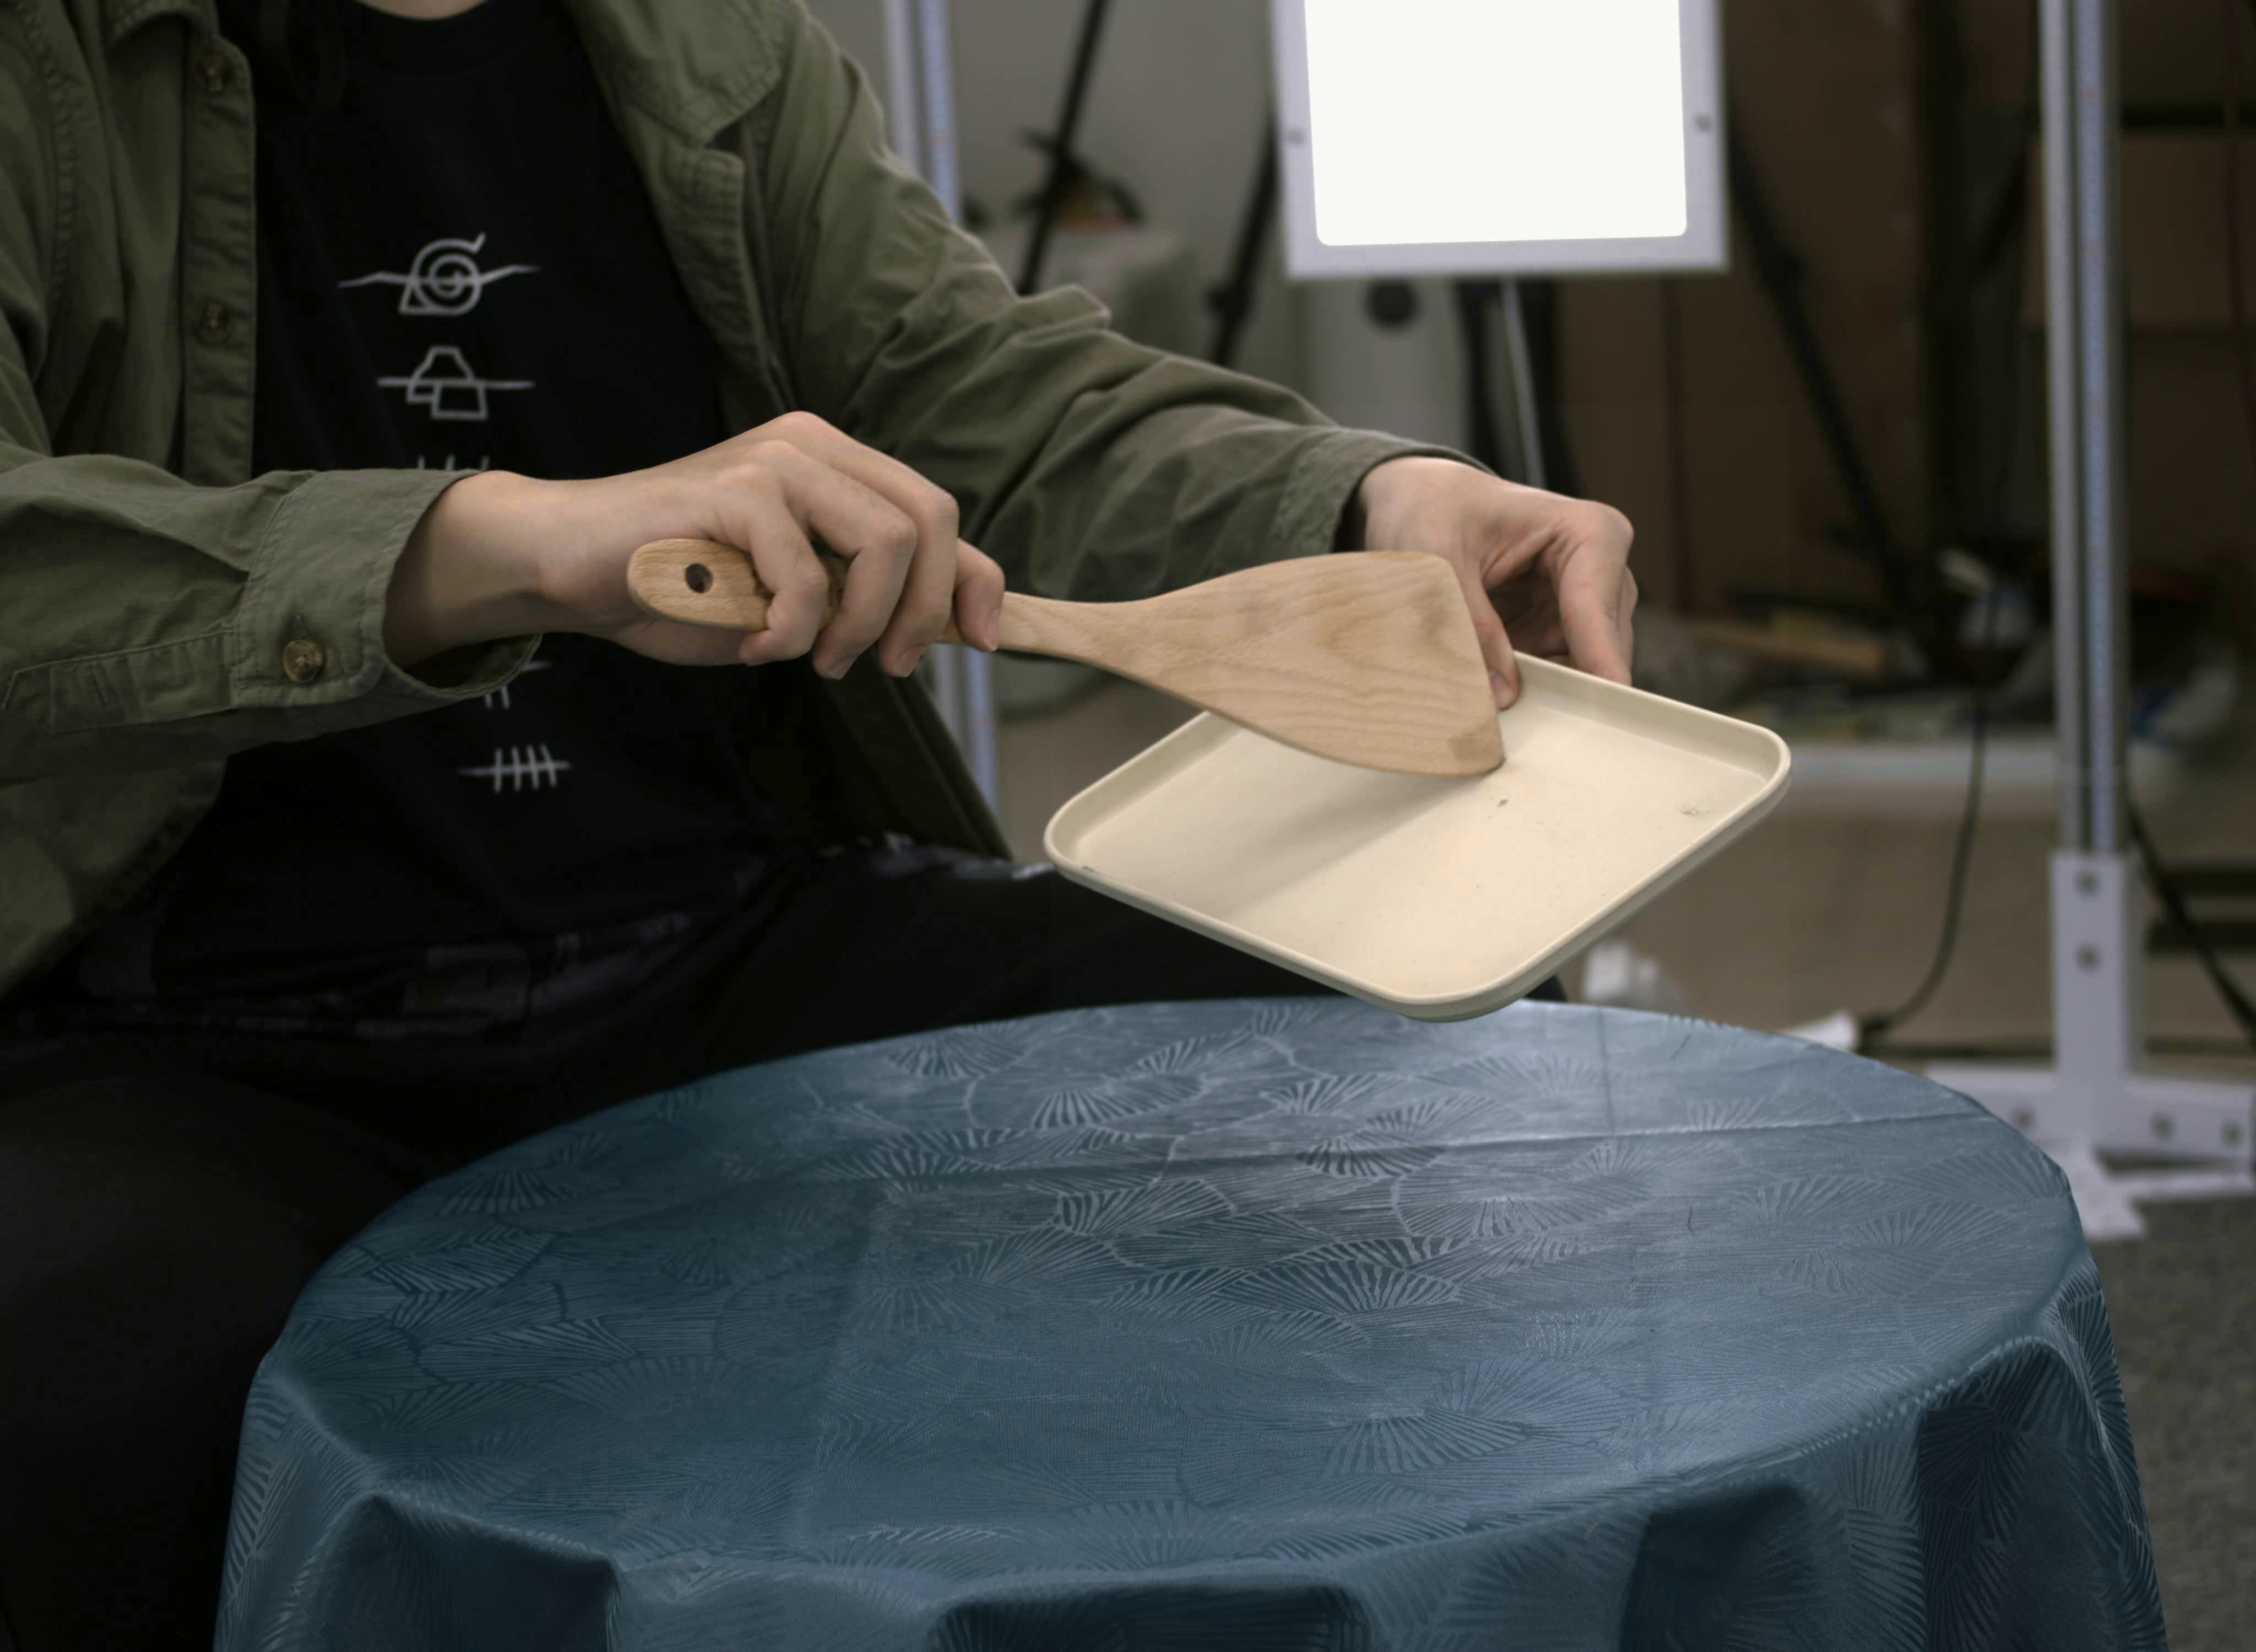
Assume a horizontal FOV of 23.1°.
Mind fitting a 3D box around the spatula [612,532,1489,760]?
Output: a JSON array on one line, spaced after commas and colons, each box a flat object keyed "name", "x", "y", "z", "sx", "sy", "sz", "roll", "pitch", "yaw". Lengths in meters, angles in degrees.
[{"name": "spatula", "x": -0.020, "y": -0.069, "z": 1.772, "sx": 0.320, "sy": 0.080, "sz": 0.017, "roll": 5, "pitch": -19, "yaw": -32}]

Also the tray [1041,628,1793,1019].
[{"name": "tray", "x": 0.094, "y": -0.004, "z": 1.820, "sx": 0.168, "sy": 0.017, "sz": 0.244, "roll": -34, "pitch": 31, "yaw": -24}]
